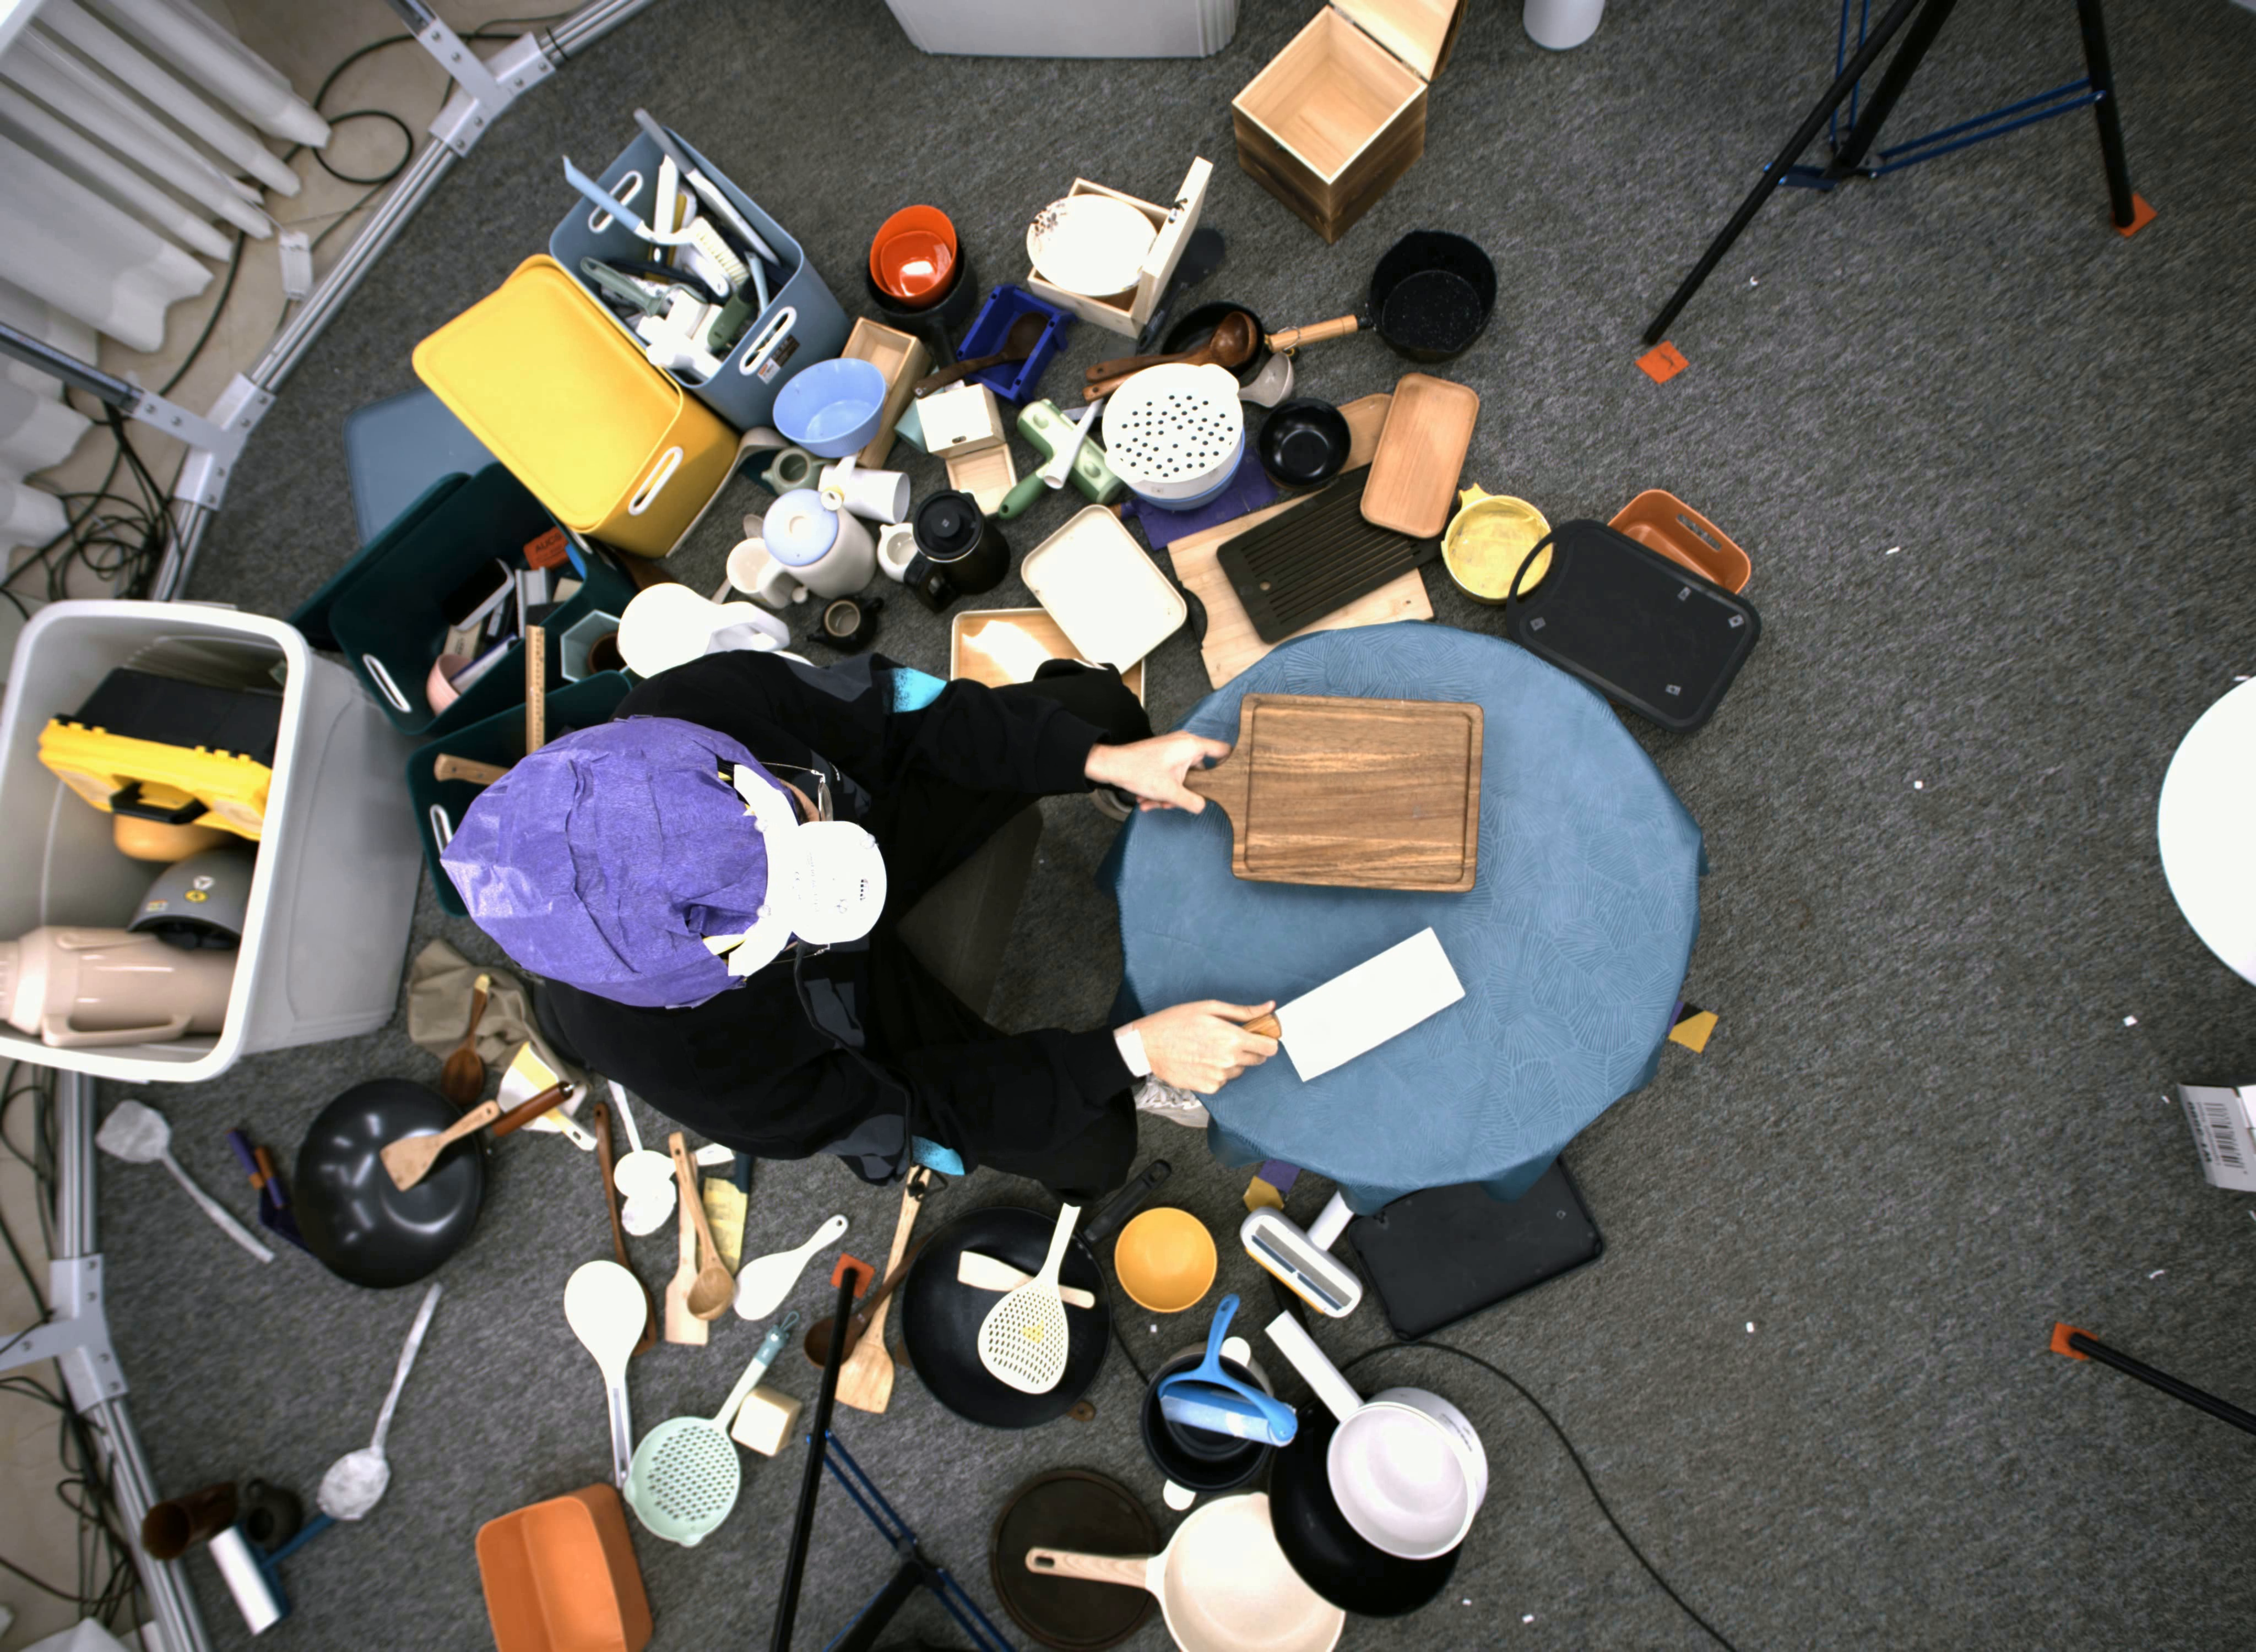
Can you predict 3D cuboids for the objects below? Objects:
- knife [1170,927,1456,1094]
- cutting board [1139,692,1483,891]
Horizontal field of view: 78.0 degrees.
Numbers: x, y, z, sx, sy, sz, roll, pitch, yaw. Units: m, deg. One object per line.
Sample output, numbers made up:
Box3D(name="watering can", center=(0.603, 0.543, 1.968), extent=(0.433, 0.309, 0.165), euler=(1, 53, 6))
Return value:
Box3D(name="knife", center=(0.193, 0.208, 1.421), extent=(0.307, 0.020, 0.094), euler=(-30, 111, 7))
Box3D(name="cutting board", center=(0.187, -0.040, 1.429), extent=(0.353, 0.023, 0.201), euler=(3, 91, 8))
